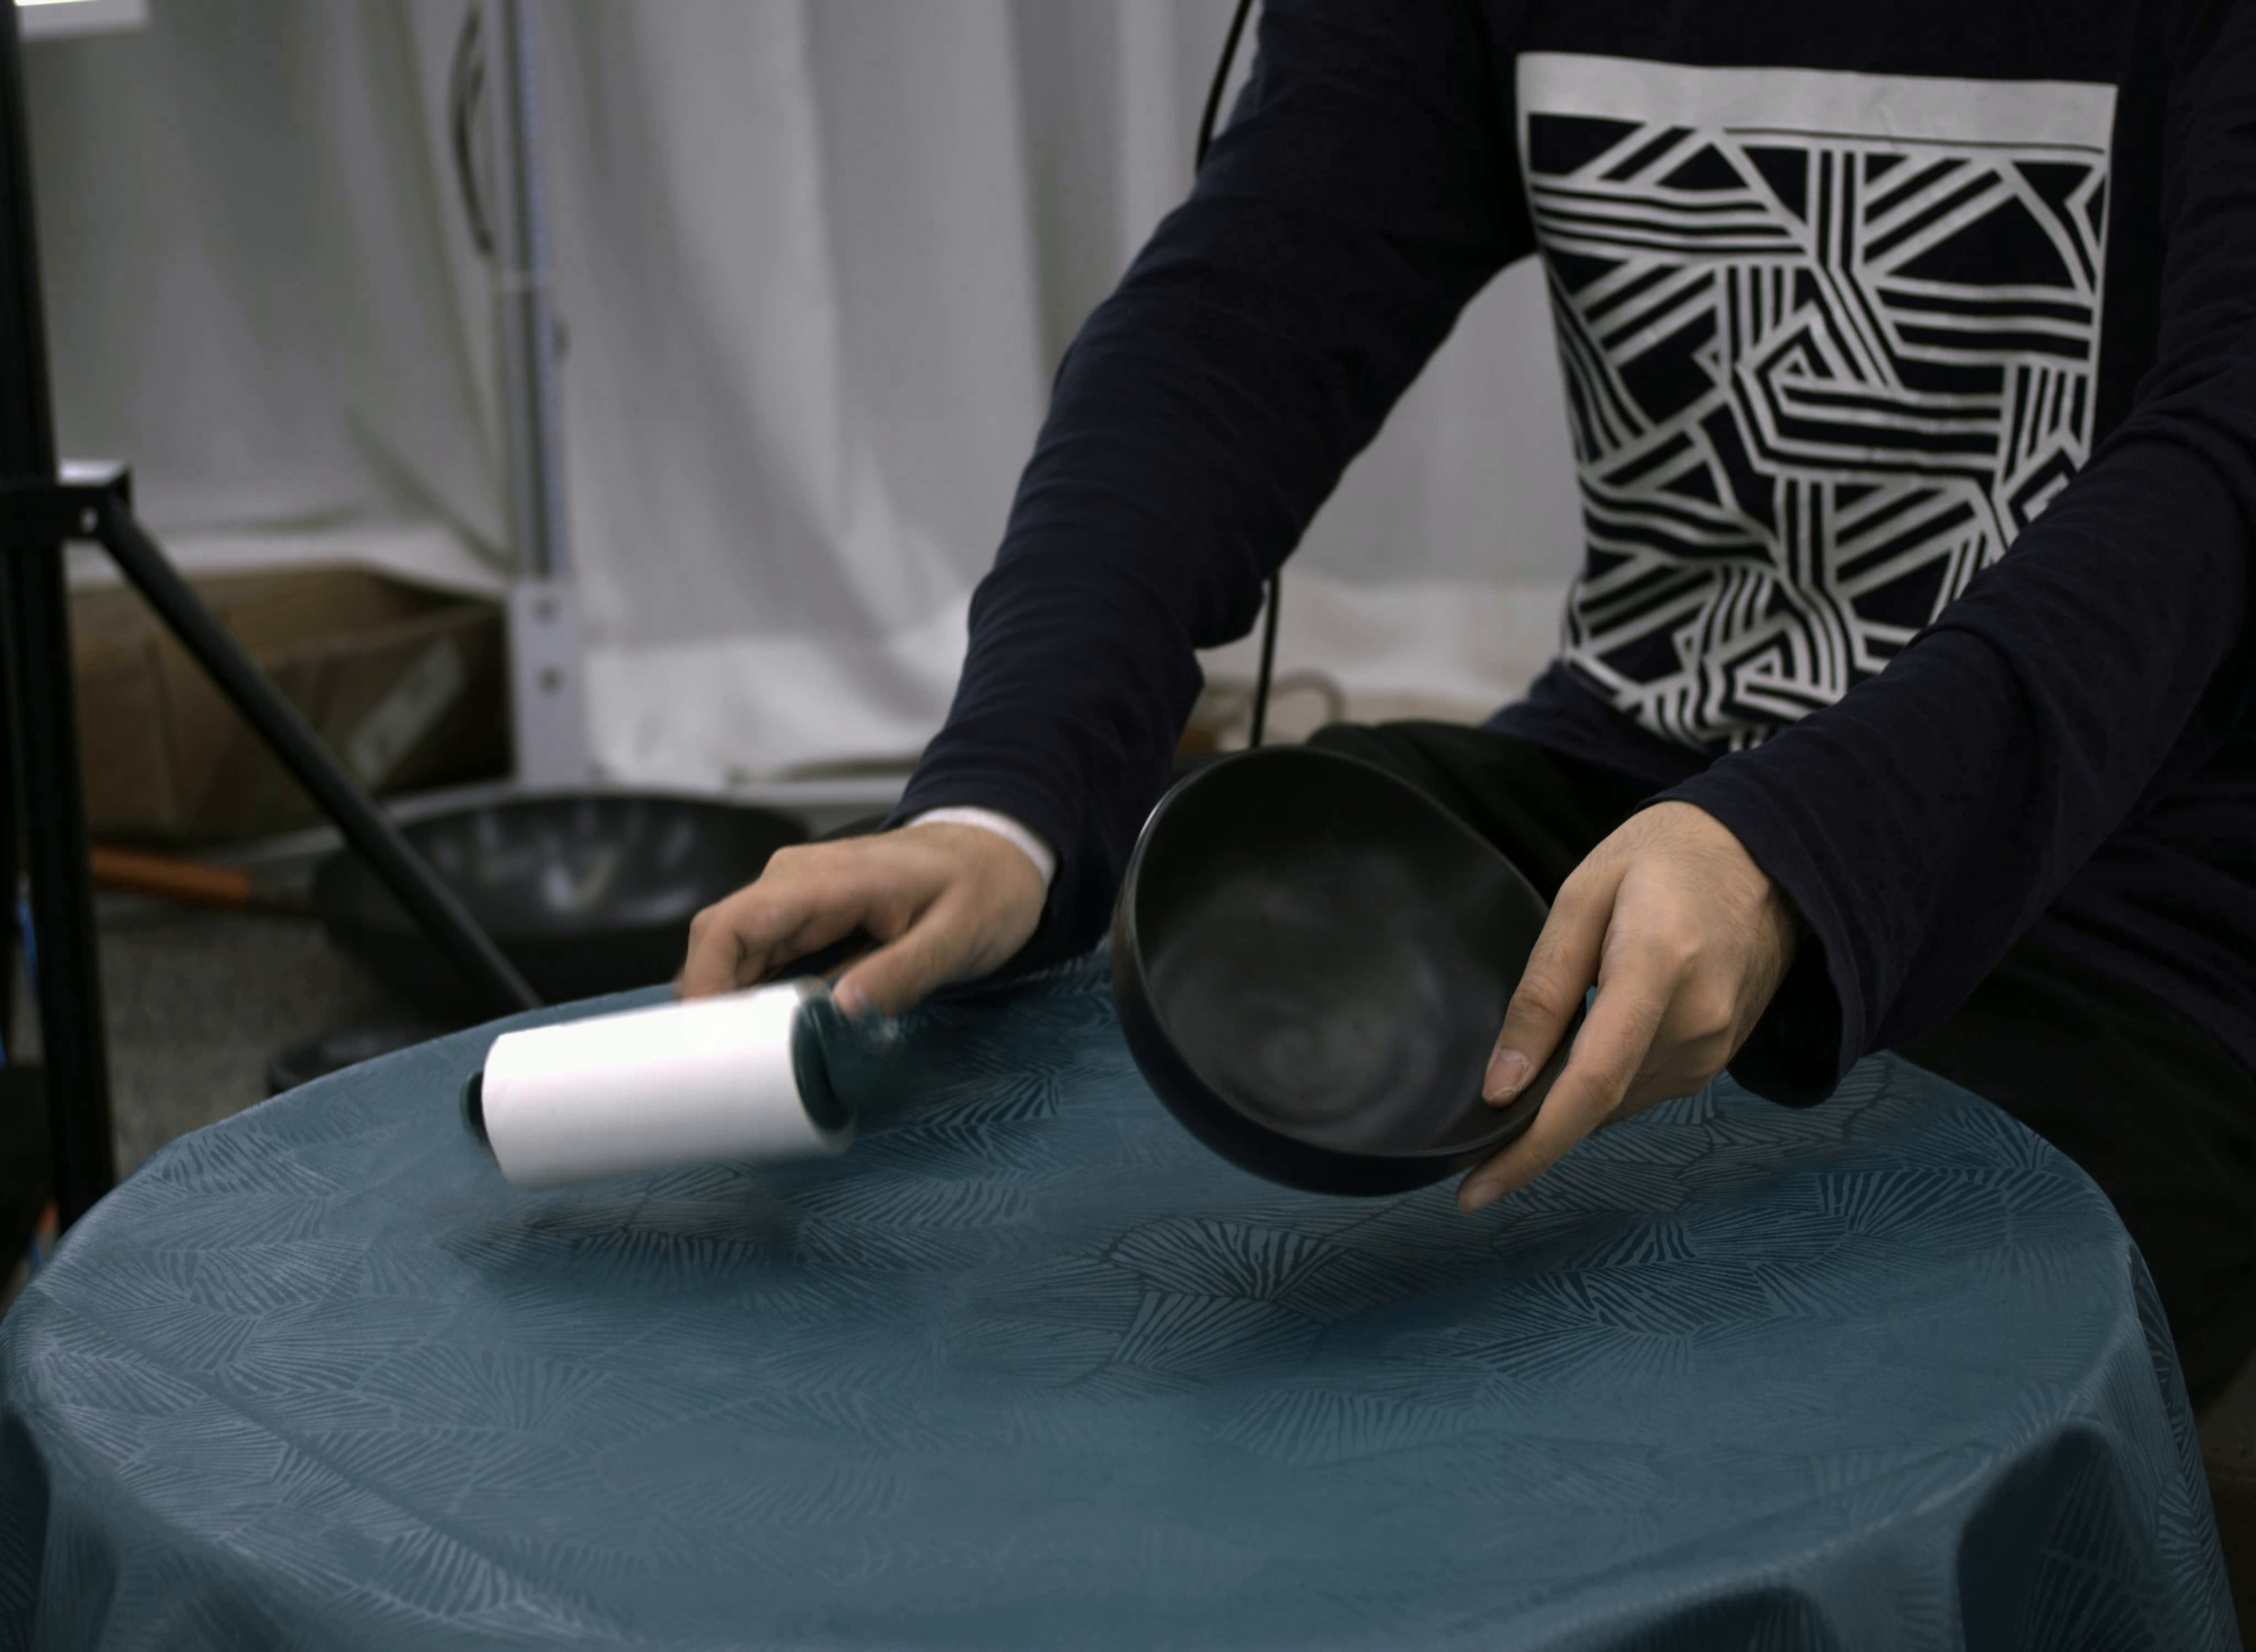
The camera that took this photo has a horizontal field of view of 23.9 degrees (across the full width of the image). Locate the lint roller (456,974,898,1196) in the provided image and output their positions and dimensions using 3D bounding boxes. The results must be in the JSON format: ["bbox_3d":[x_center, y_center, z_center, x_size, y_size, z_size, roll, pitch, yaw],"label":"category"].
[{"bbox_3d":[-0.112,0.058,1.591,0.136,0.048,0.178,-8,16,21],"label":"lint roller"}]

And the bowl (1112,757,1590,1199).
[{"bbox_3d":[0.054,0.051,1.491,0.138,0.067,0.167,43,40,10],"label":"bowl"}]
